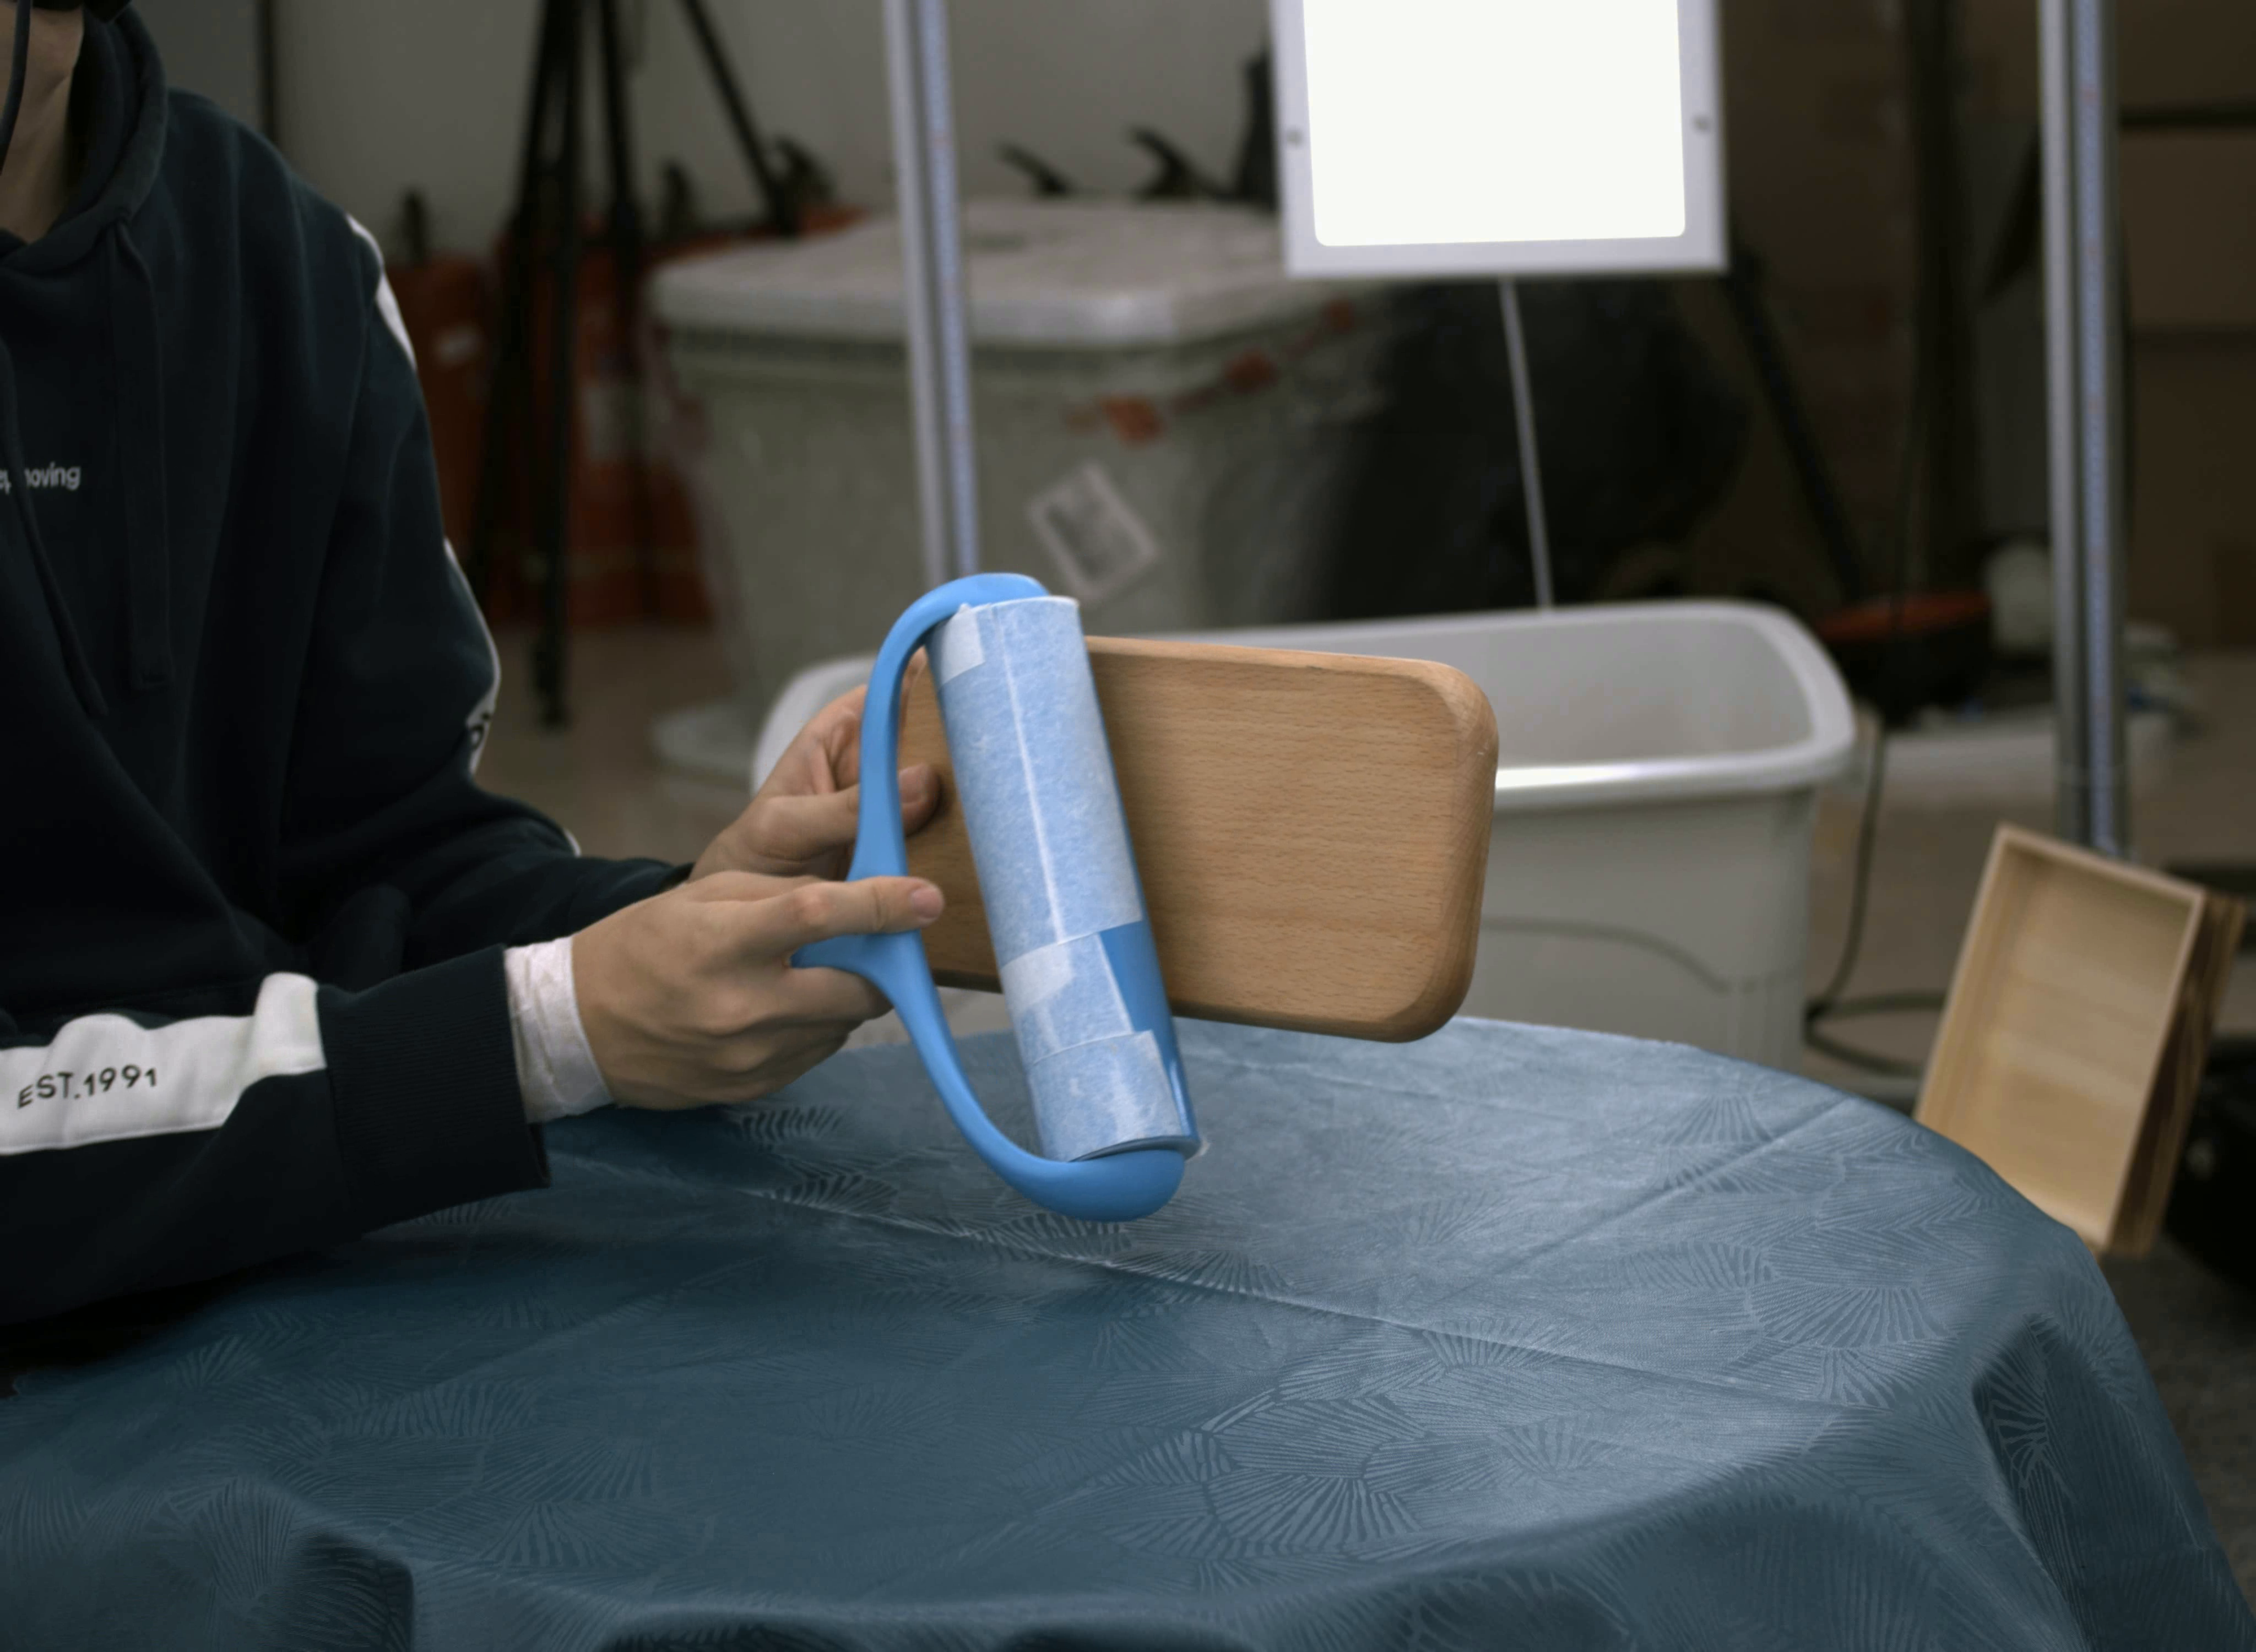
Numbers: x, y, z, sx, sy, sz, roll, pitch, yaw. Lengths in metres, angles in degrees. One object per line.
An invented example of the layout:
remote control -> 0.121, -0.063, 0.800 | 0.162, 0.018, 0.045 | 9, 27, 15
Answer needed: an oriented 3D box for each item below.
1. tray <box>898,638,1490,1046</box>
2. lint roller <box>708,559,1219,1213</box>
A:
tray -> 0.015, 0.002, 1.852 | 0.256, 0.131, 0.022 | 3, -5, 41
lint roller -> -0.072, 0.039, 1.852 | 0.182, 0.230, 0.067 | -22, -17, 18
